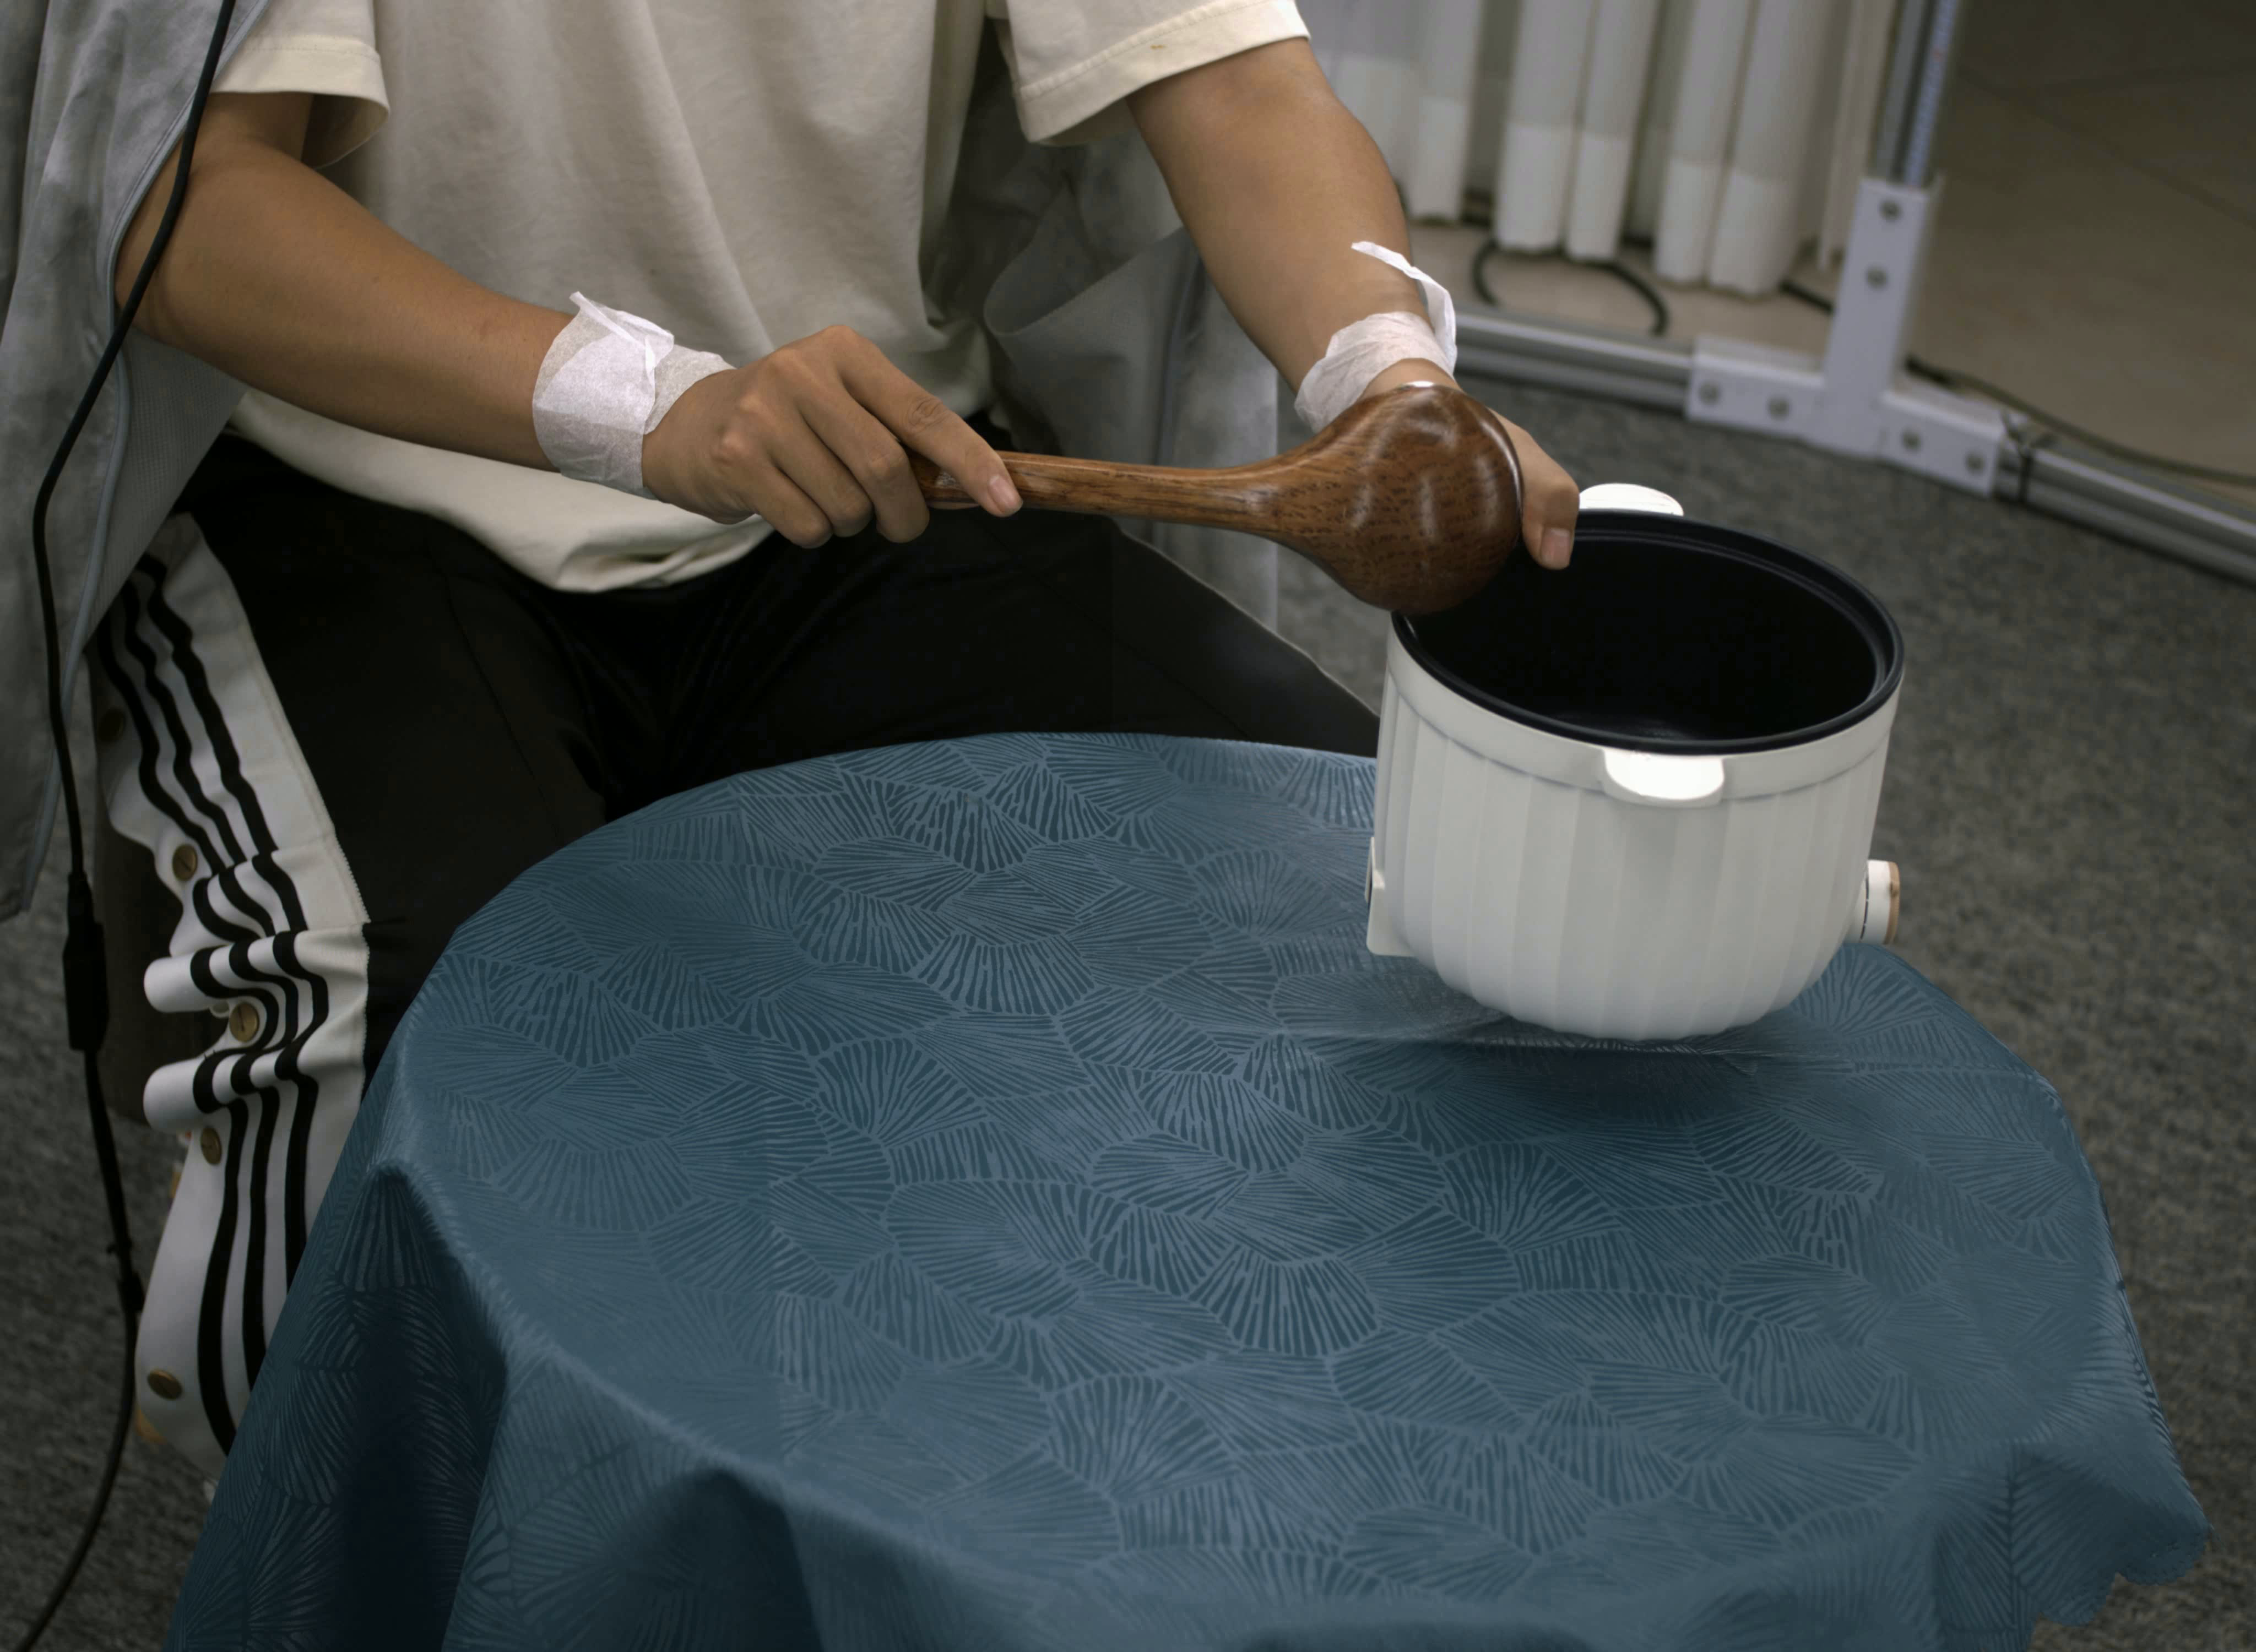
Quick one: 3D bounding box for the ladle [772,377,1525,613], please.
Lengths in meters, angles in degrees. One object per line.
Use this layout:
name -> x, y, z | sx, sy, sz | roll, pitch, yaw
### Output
ladle -> 0.008, -0.122, 1.898 | 0.275, 0.082, 0.076 | 5, 5, 29

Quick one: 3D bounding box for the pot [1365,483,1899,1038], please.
pot -> 0.182, -0.015, 1.898 | 0.190, 0.142, 0.242 | 1, 30, 1
